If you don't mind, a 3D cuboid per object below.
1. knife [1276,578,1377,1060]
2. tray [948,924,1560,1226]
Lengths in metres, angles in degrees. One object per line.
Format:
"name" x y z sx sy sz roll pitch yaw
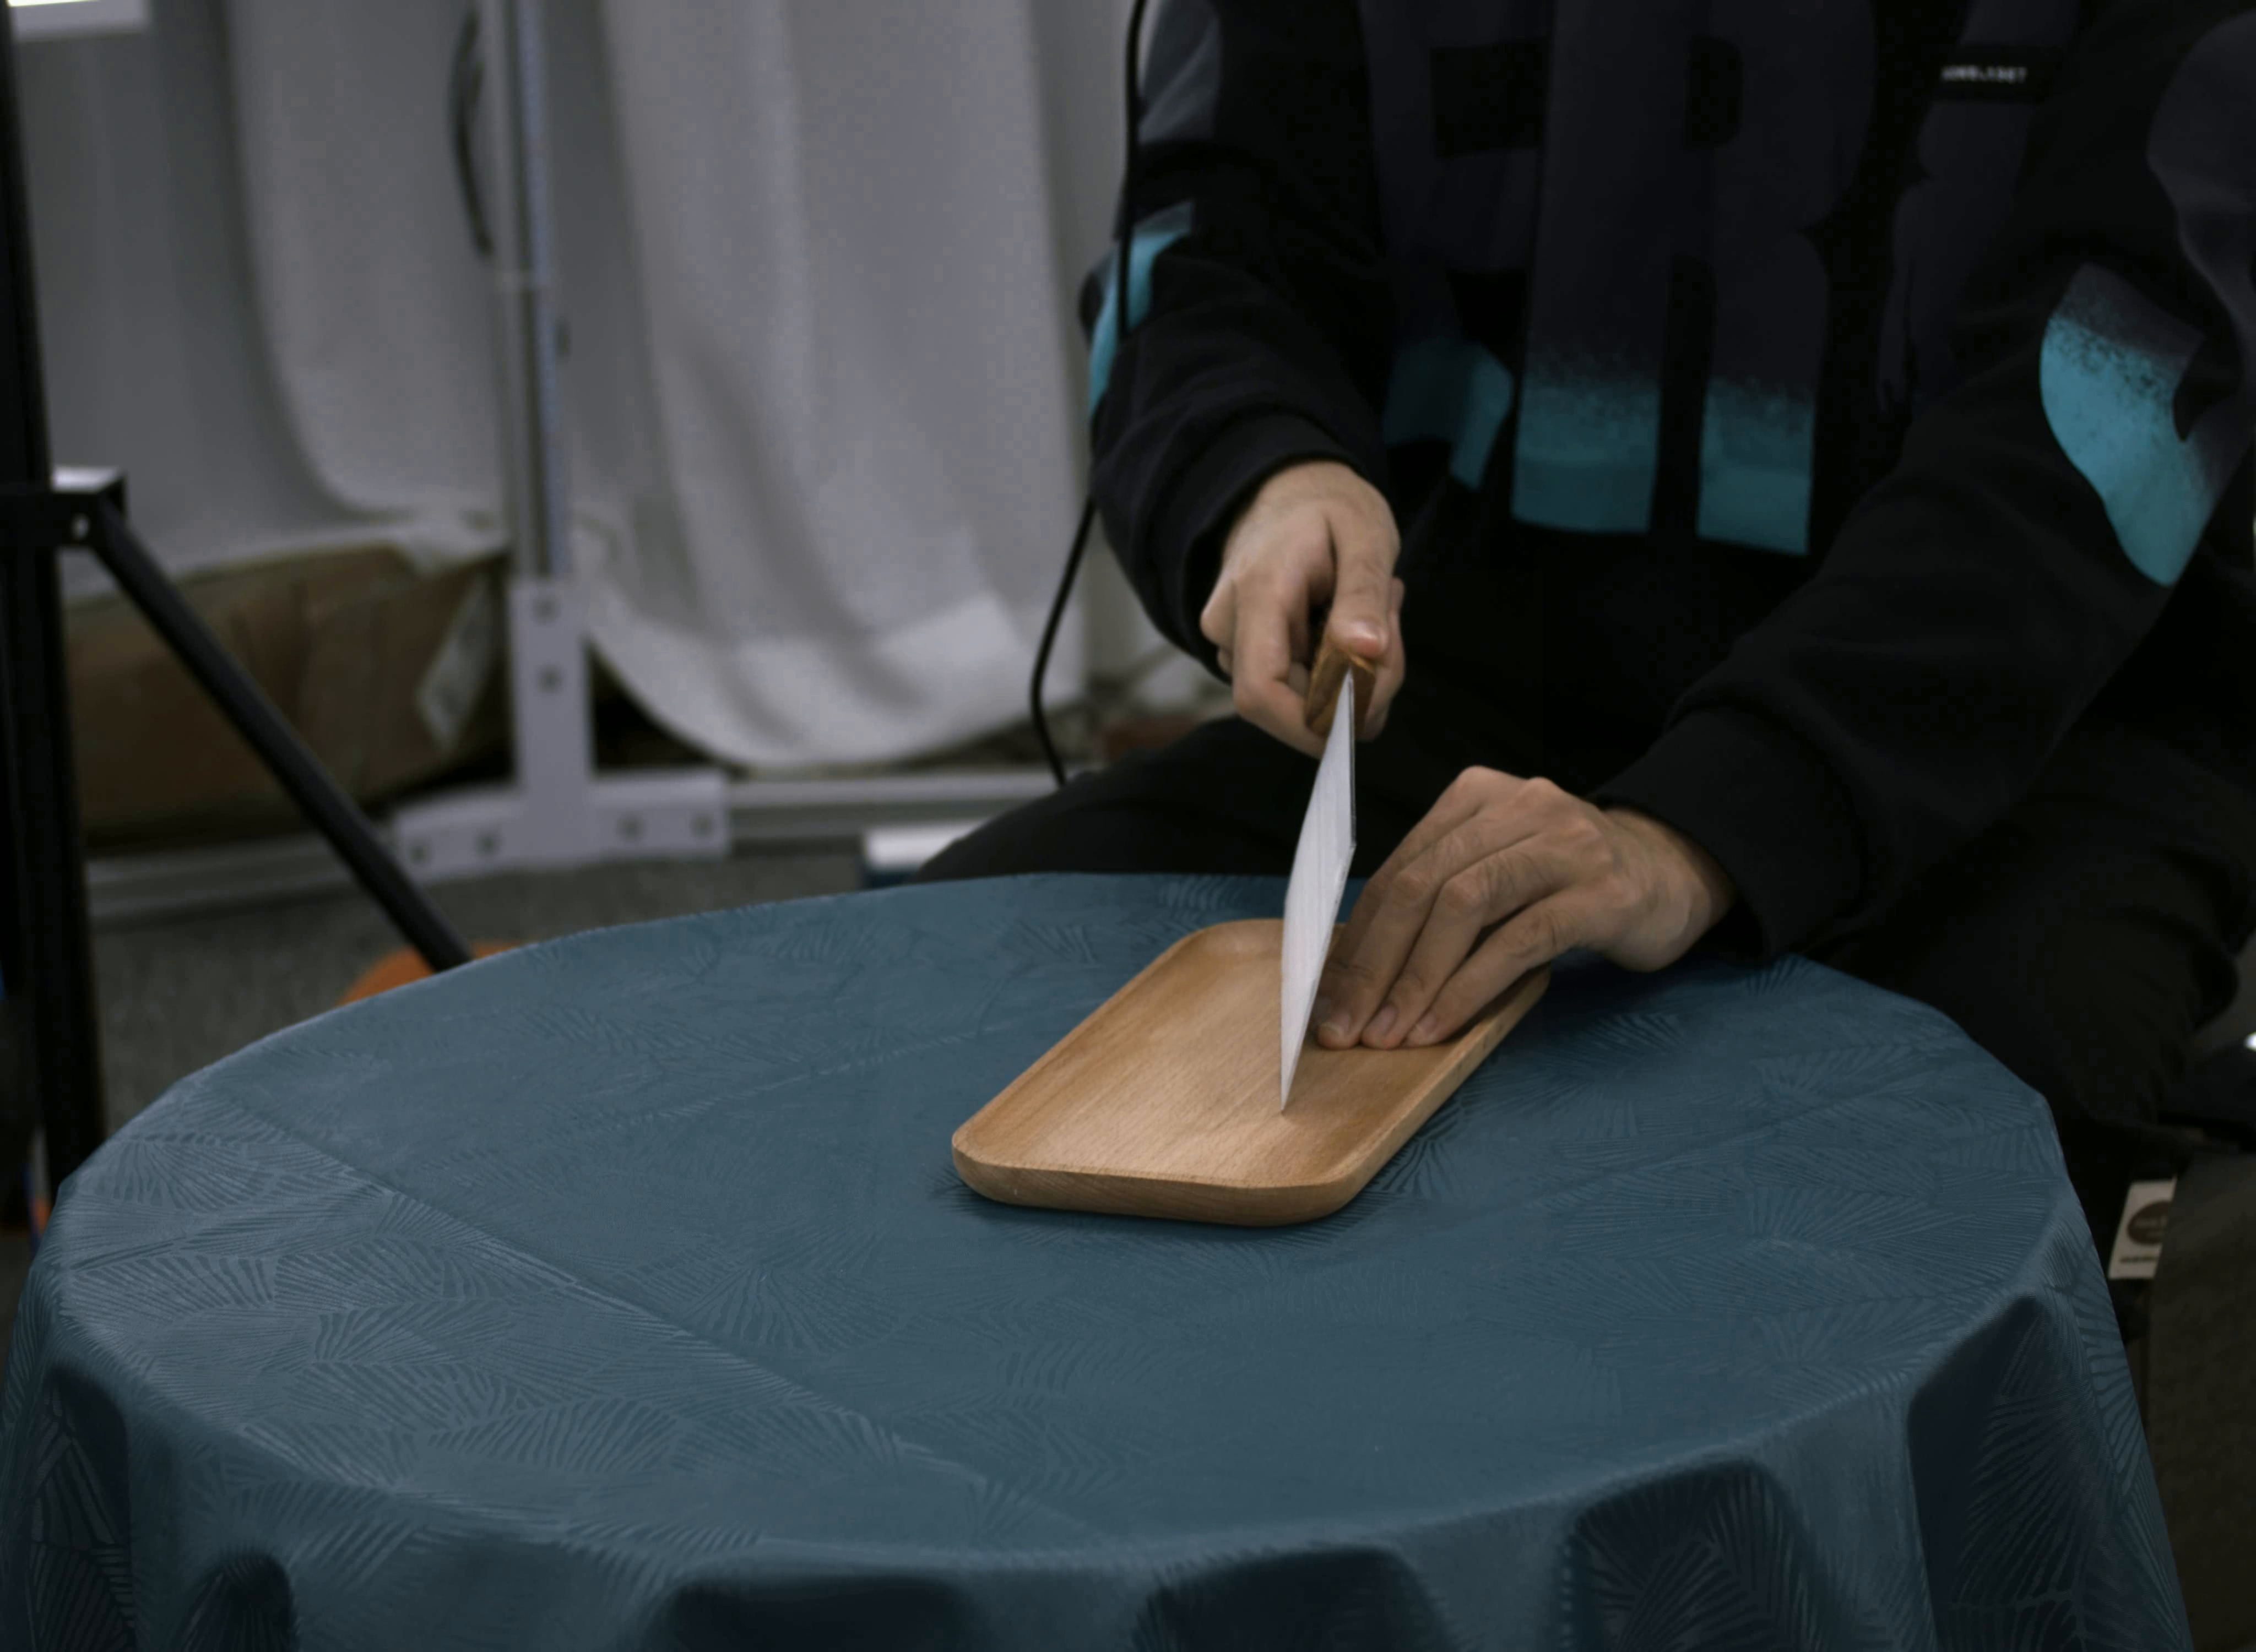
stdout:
"knife" 0.062 -0.003 1.722 0.021 0.093 0.306 13 18 -3
"tray" 0.043 0.074 1.640 0.132 0.023 0.247 6 17 22
